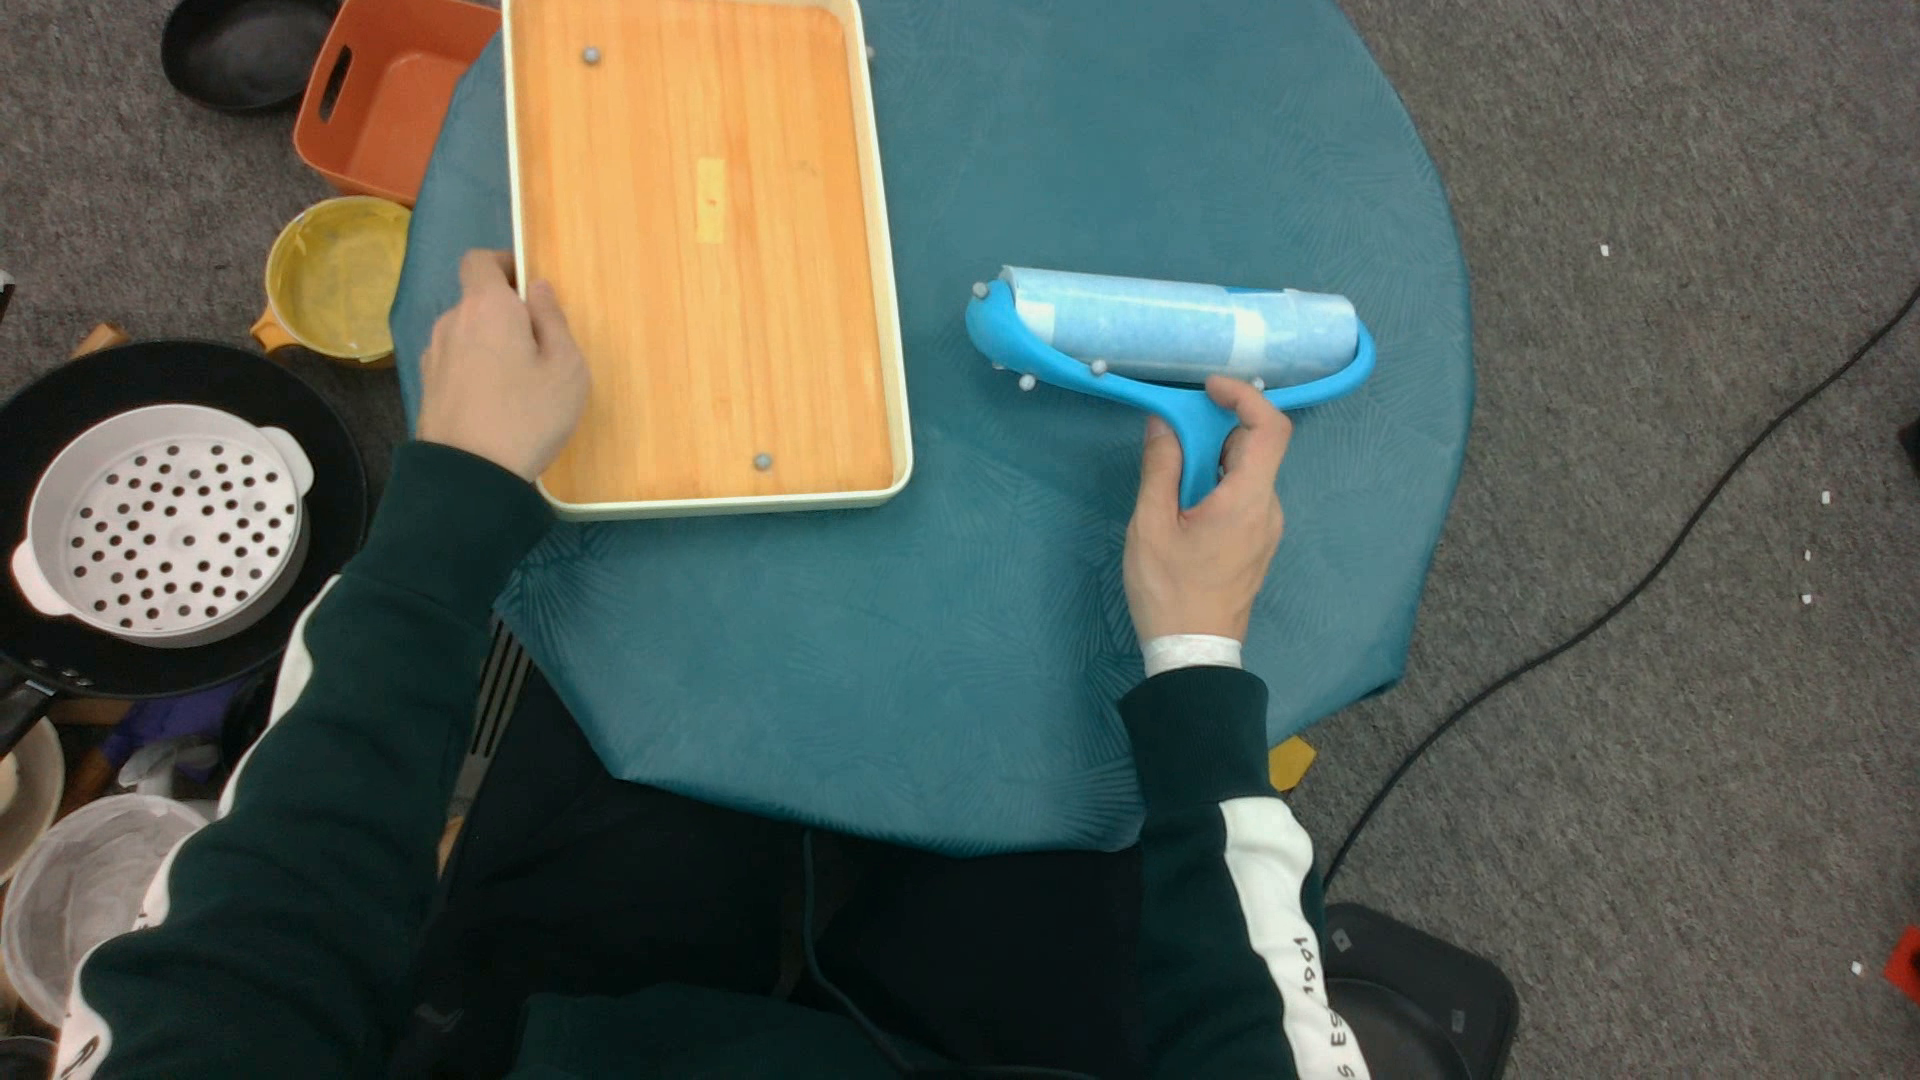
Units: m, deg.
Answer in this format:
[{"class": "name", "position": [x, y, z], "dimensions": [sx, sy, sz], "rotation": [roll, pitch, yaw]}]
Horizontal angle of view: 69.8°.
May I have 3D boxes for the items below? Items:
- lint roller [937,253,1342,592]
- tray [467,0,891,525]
[{"class": "lint roller", "position": [0.107, -0.067, 0.727], "dimensions": [0.229, 0.067, 0.180], "rotation": [-4, 76, -20]}, {"class": "tray", "position": [-0.148, -0.160, 0.722], "dimensions": [0.192, 0.027, 0.301], "rotation": [-5, 78, -19]}]
